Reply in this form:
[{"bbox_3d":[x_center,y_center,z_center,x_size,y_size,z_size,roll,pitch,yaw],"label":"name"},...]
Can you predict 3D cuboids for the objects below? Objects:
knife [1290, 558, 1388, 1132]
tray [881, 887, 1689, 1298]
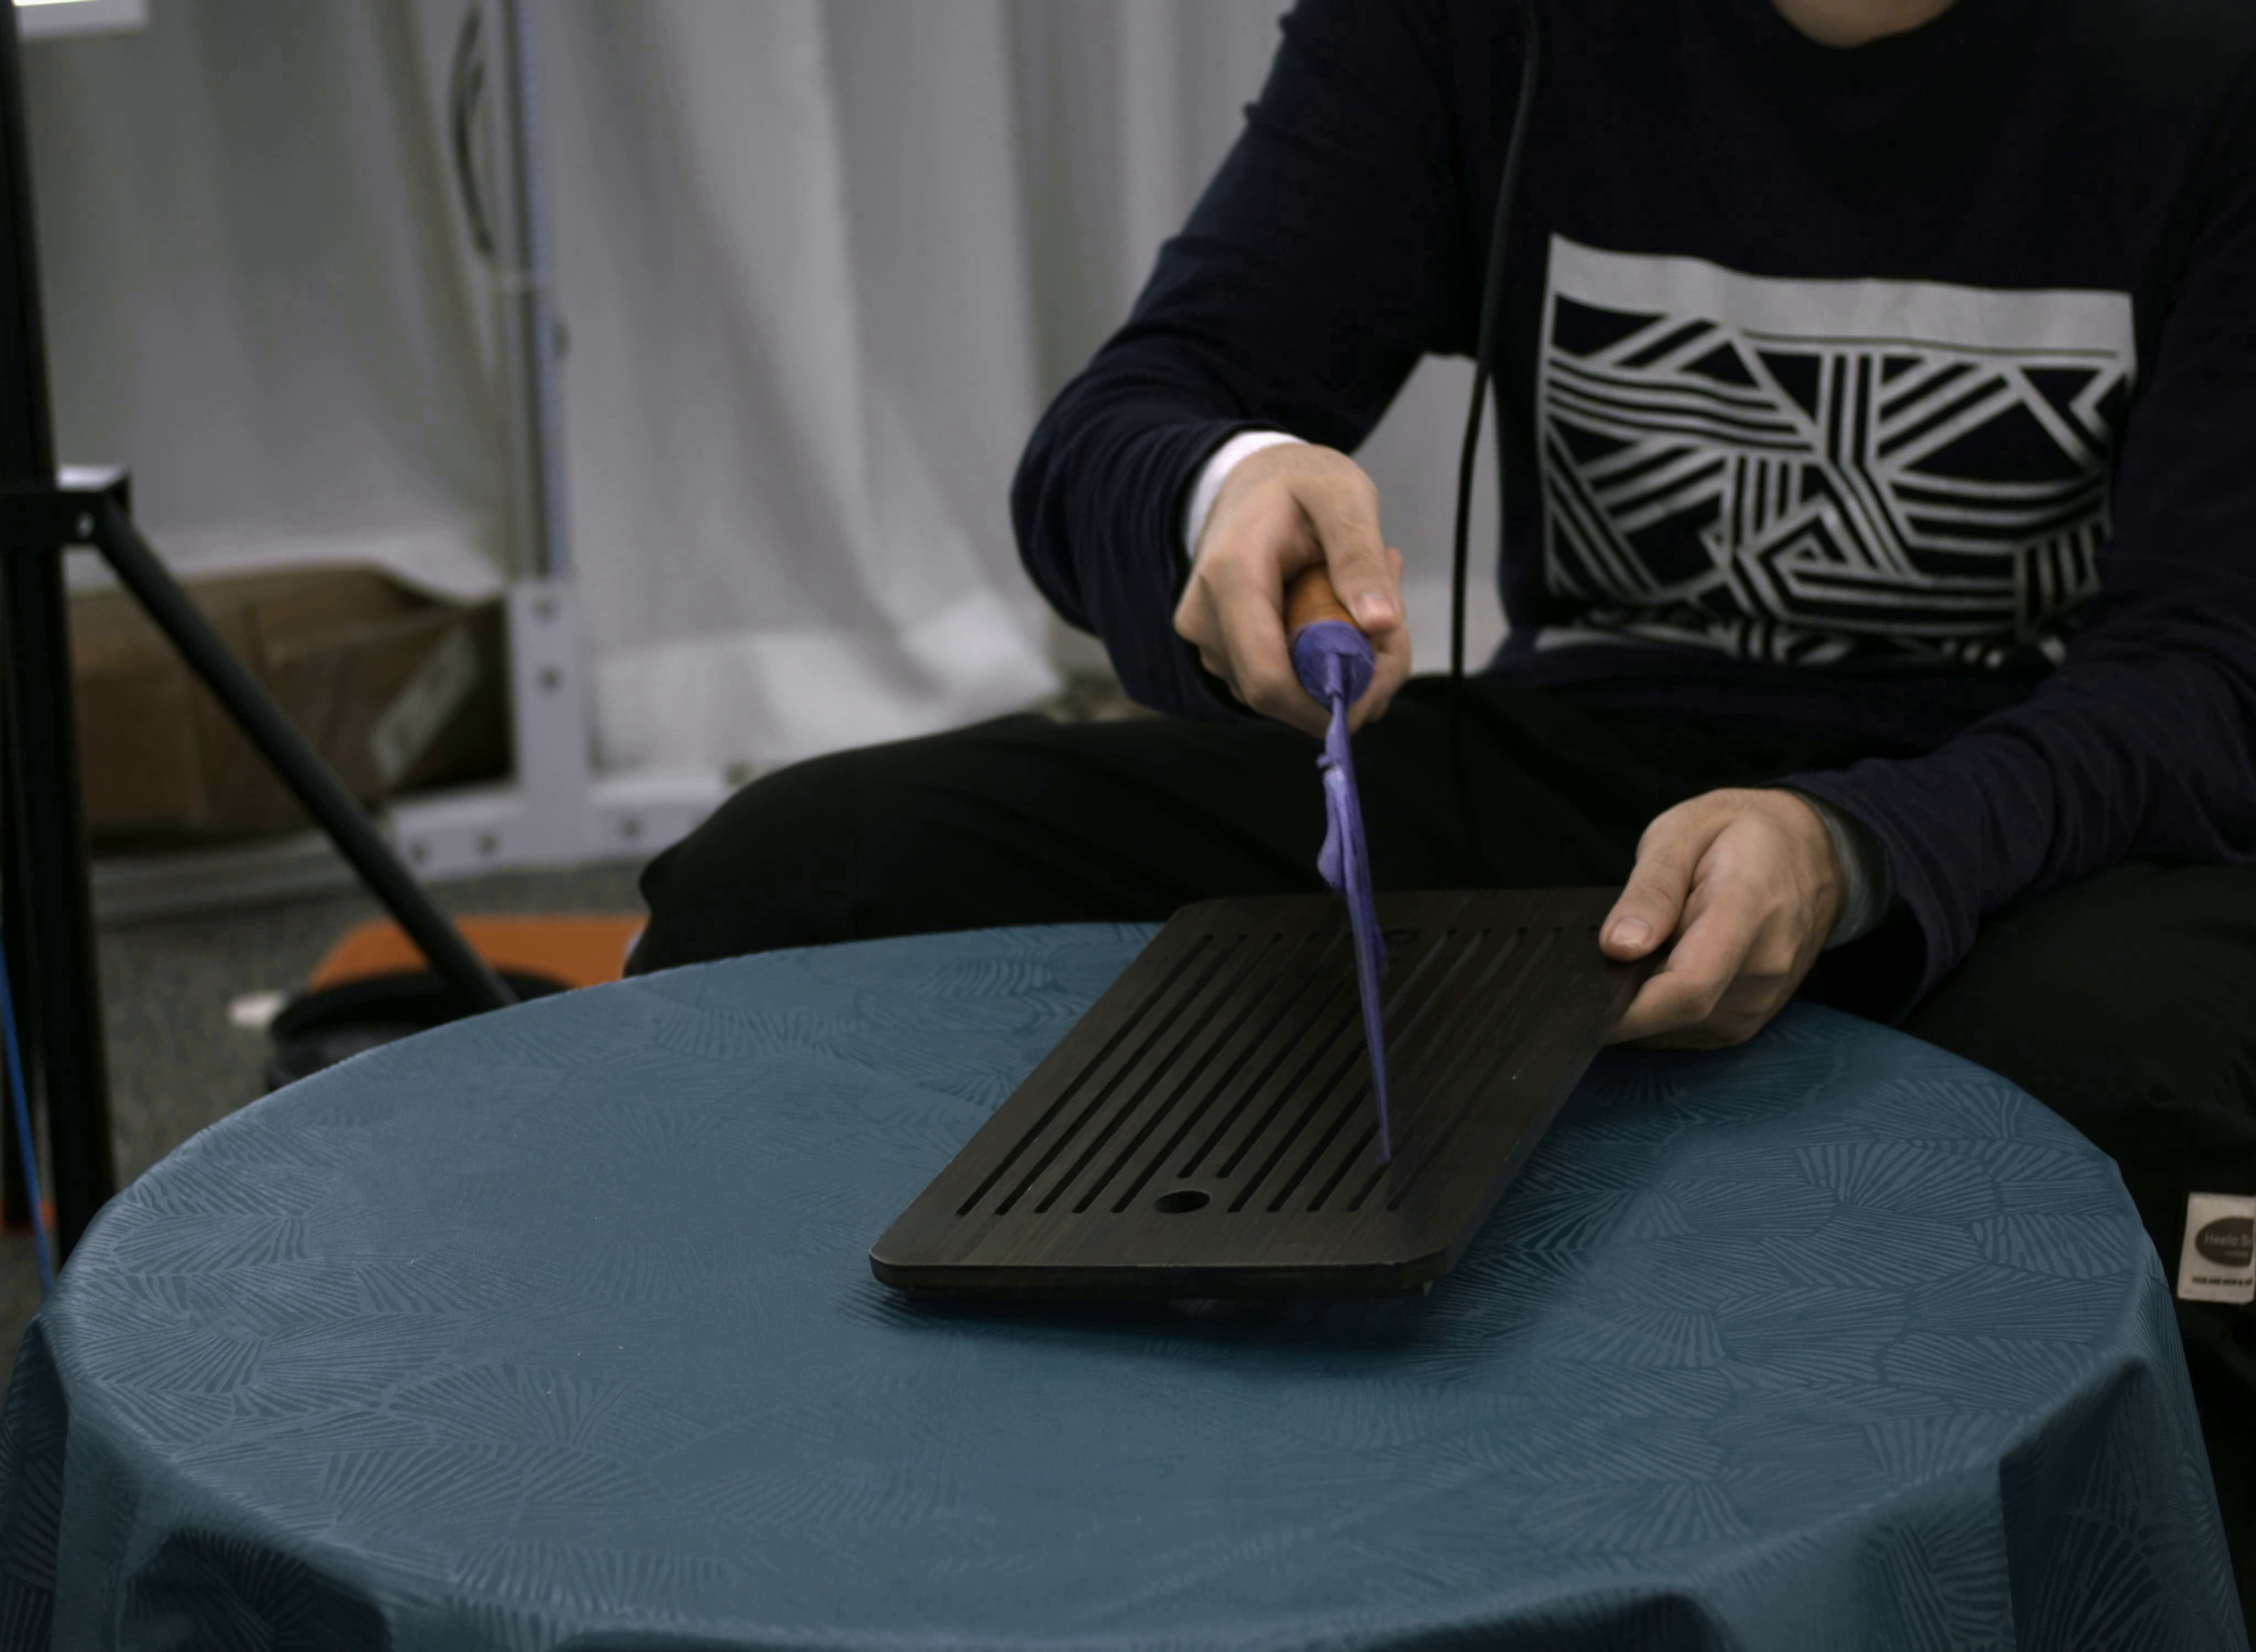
[{"bbox_3d":[0.065,0.003,1.601,0.032,0.103,0.316,-6,18,5],"label":"knife"},{"bbox_3d":[0.055,0.078,1.574,0.172,0.018,0.303,-2,18,21],"label":"tray"}]
